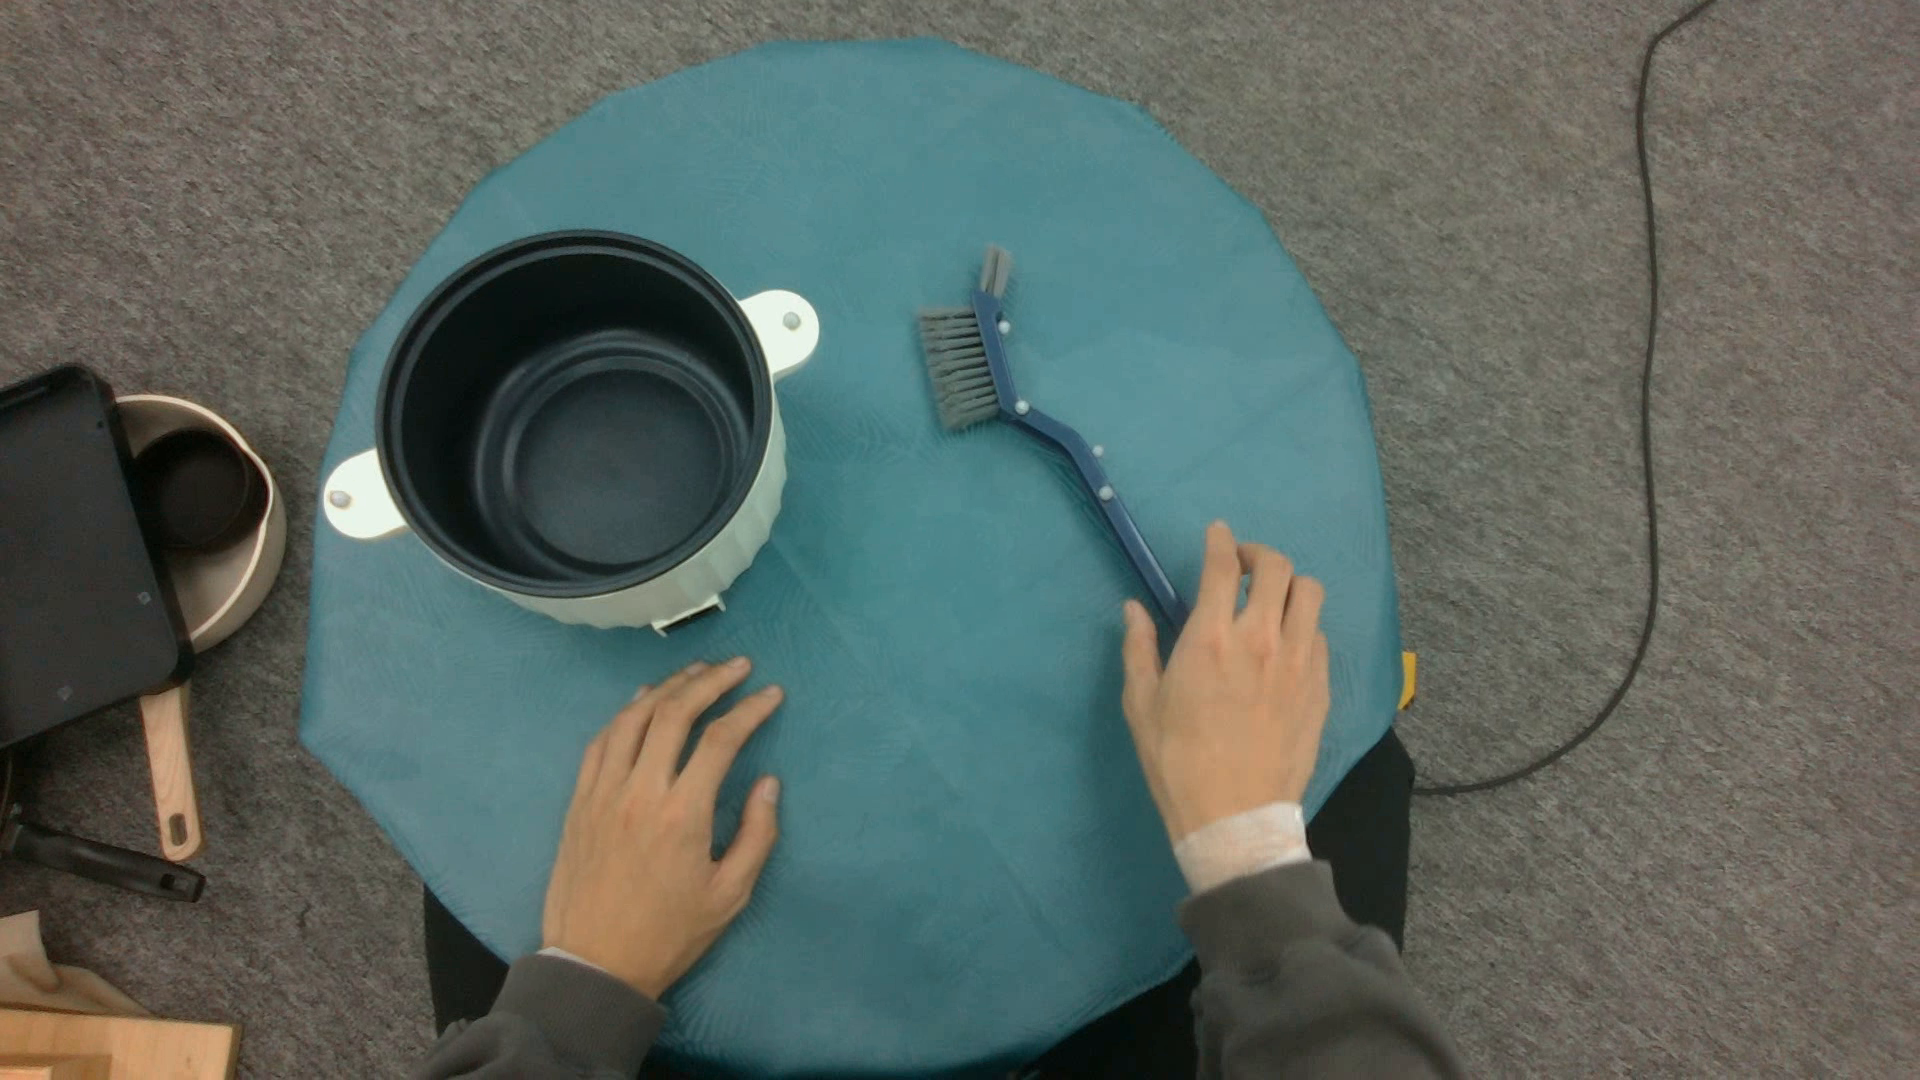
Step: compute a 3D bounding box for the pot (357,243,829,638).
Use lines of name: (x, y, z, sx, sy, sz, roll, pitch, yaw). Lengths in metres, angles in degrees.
pot: (-0.179, -0.048, 0.721, 0.240, 0.142, 0.190, -25, 81, -8)

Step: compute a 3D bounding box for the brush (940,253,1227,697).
brush: (0.082, -0.038, 0.778, 0.096, 0.033, 0.273, -36, 78, -10)
